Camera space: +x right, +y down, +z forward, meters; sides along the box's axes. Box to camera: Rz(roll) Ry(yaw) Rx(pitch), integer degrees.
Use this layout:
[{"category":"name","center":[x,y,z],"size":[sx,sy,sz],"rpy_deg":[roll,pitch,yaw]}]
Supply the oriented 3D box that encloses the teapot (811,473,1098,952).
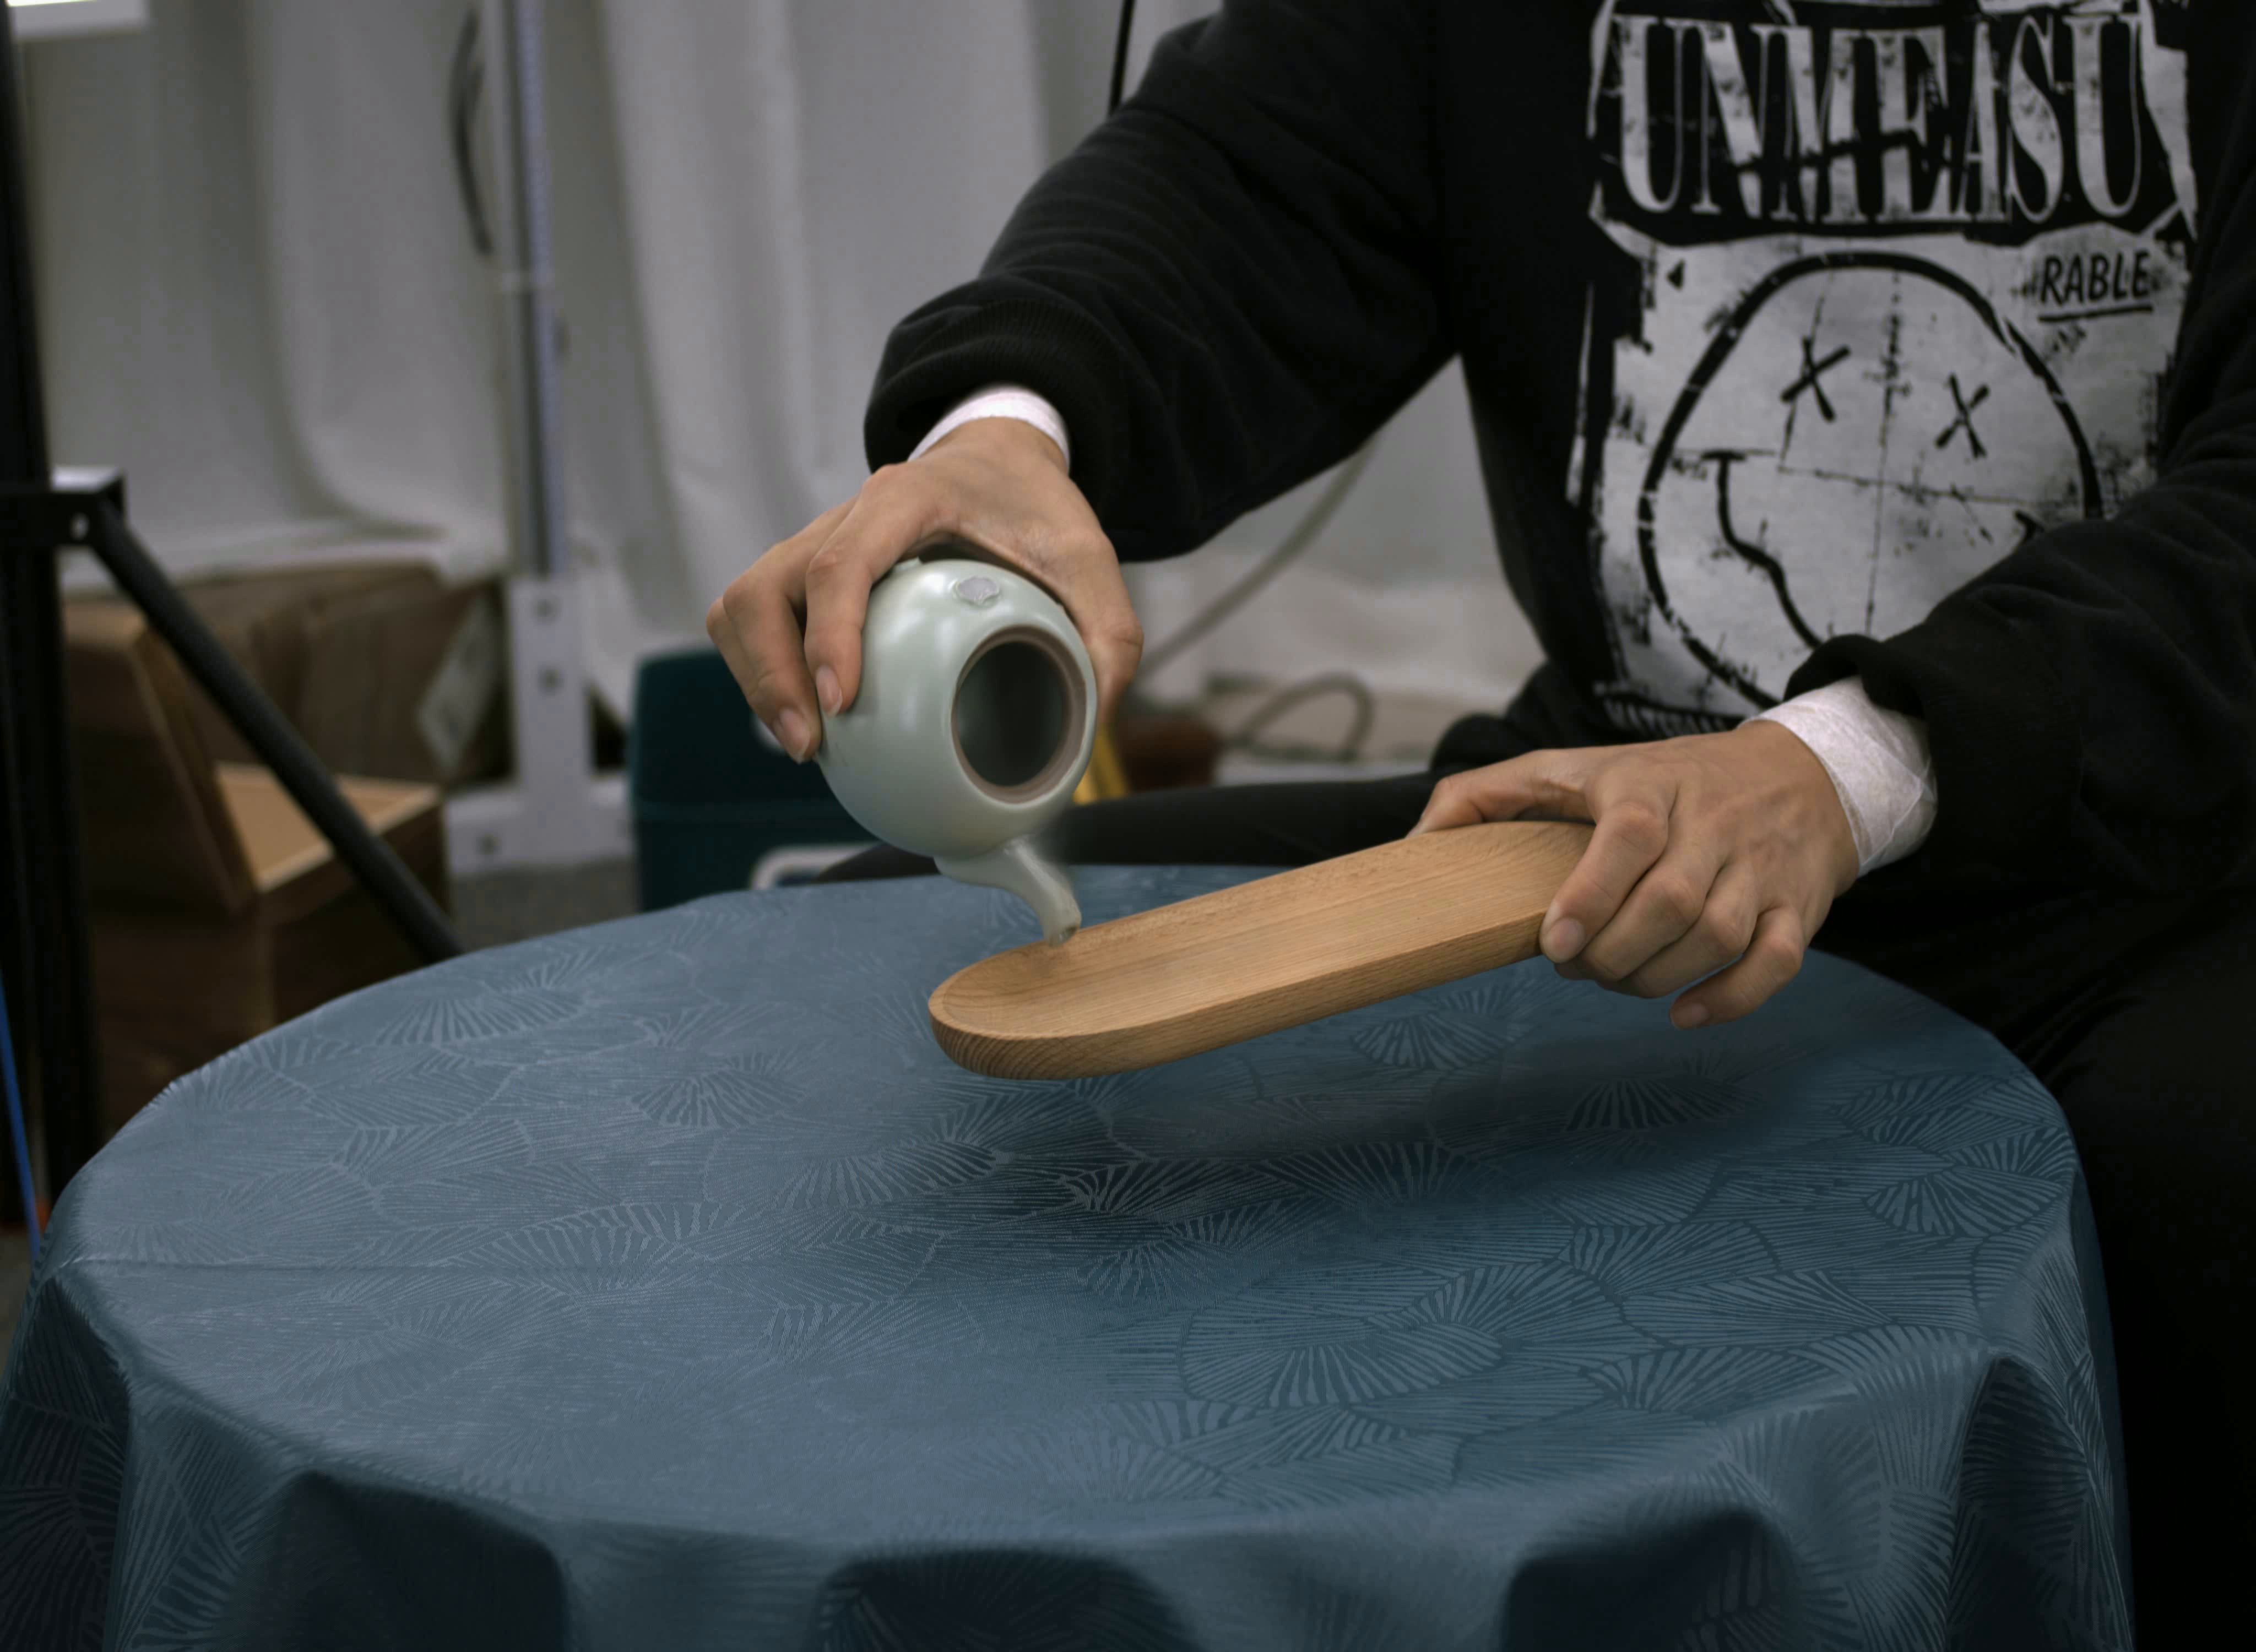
[{"category":"teapot","center":[-0.051,-0.035,1.574],"size":[0.086,0.144,0.076],"rpy_deg":[-20,19,-40]}]

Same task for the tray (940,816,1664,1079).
[{"category":"tray","center":[0.053,0.035,1.565],"size":[0.227,0.020,0.104],"rpy_deg":[-14,18,-23]}]
